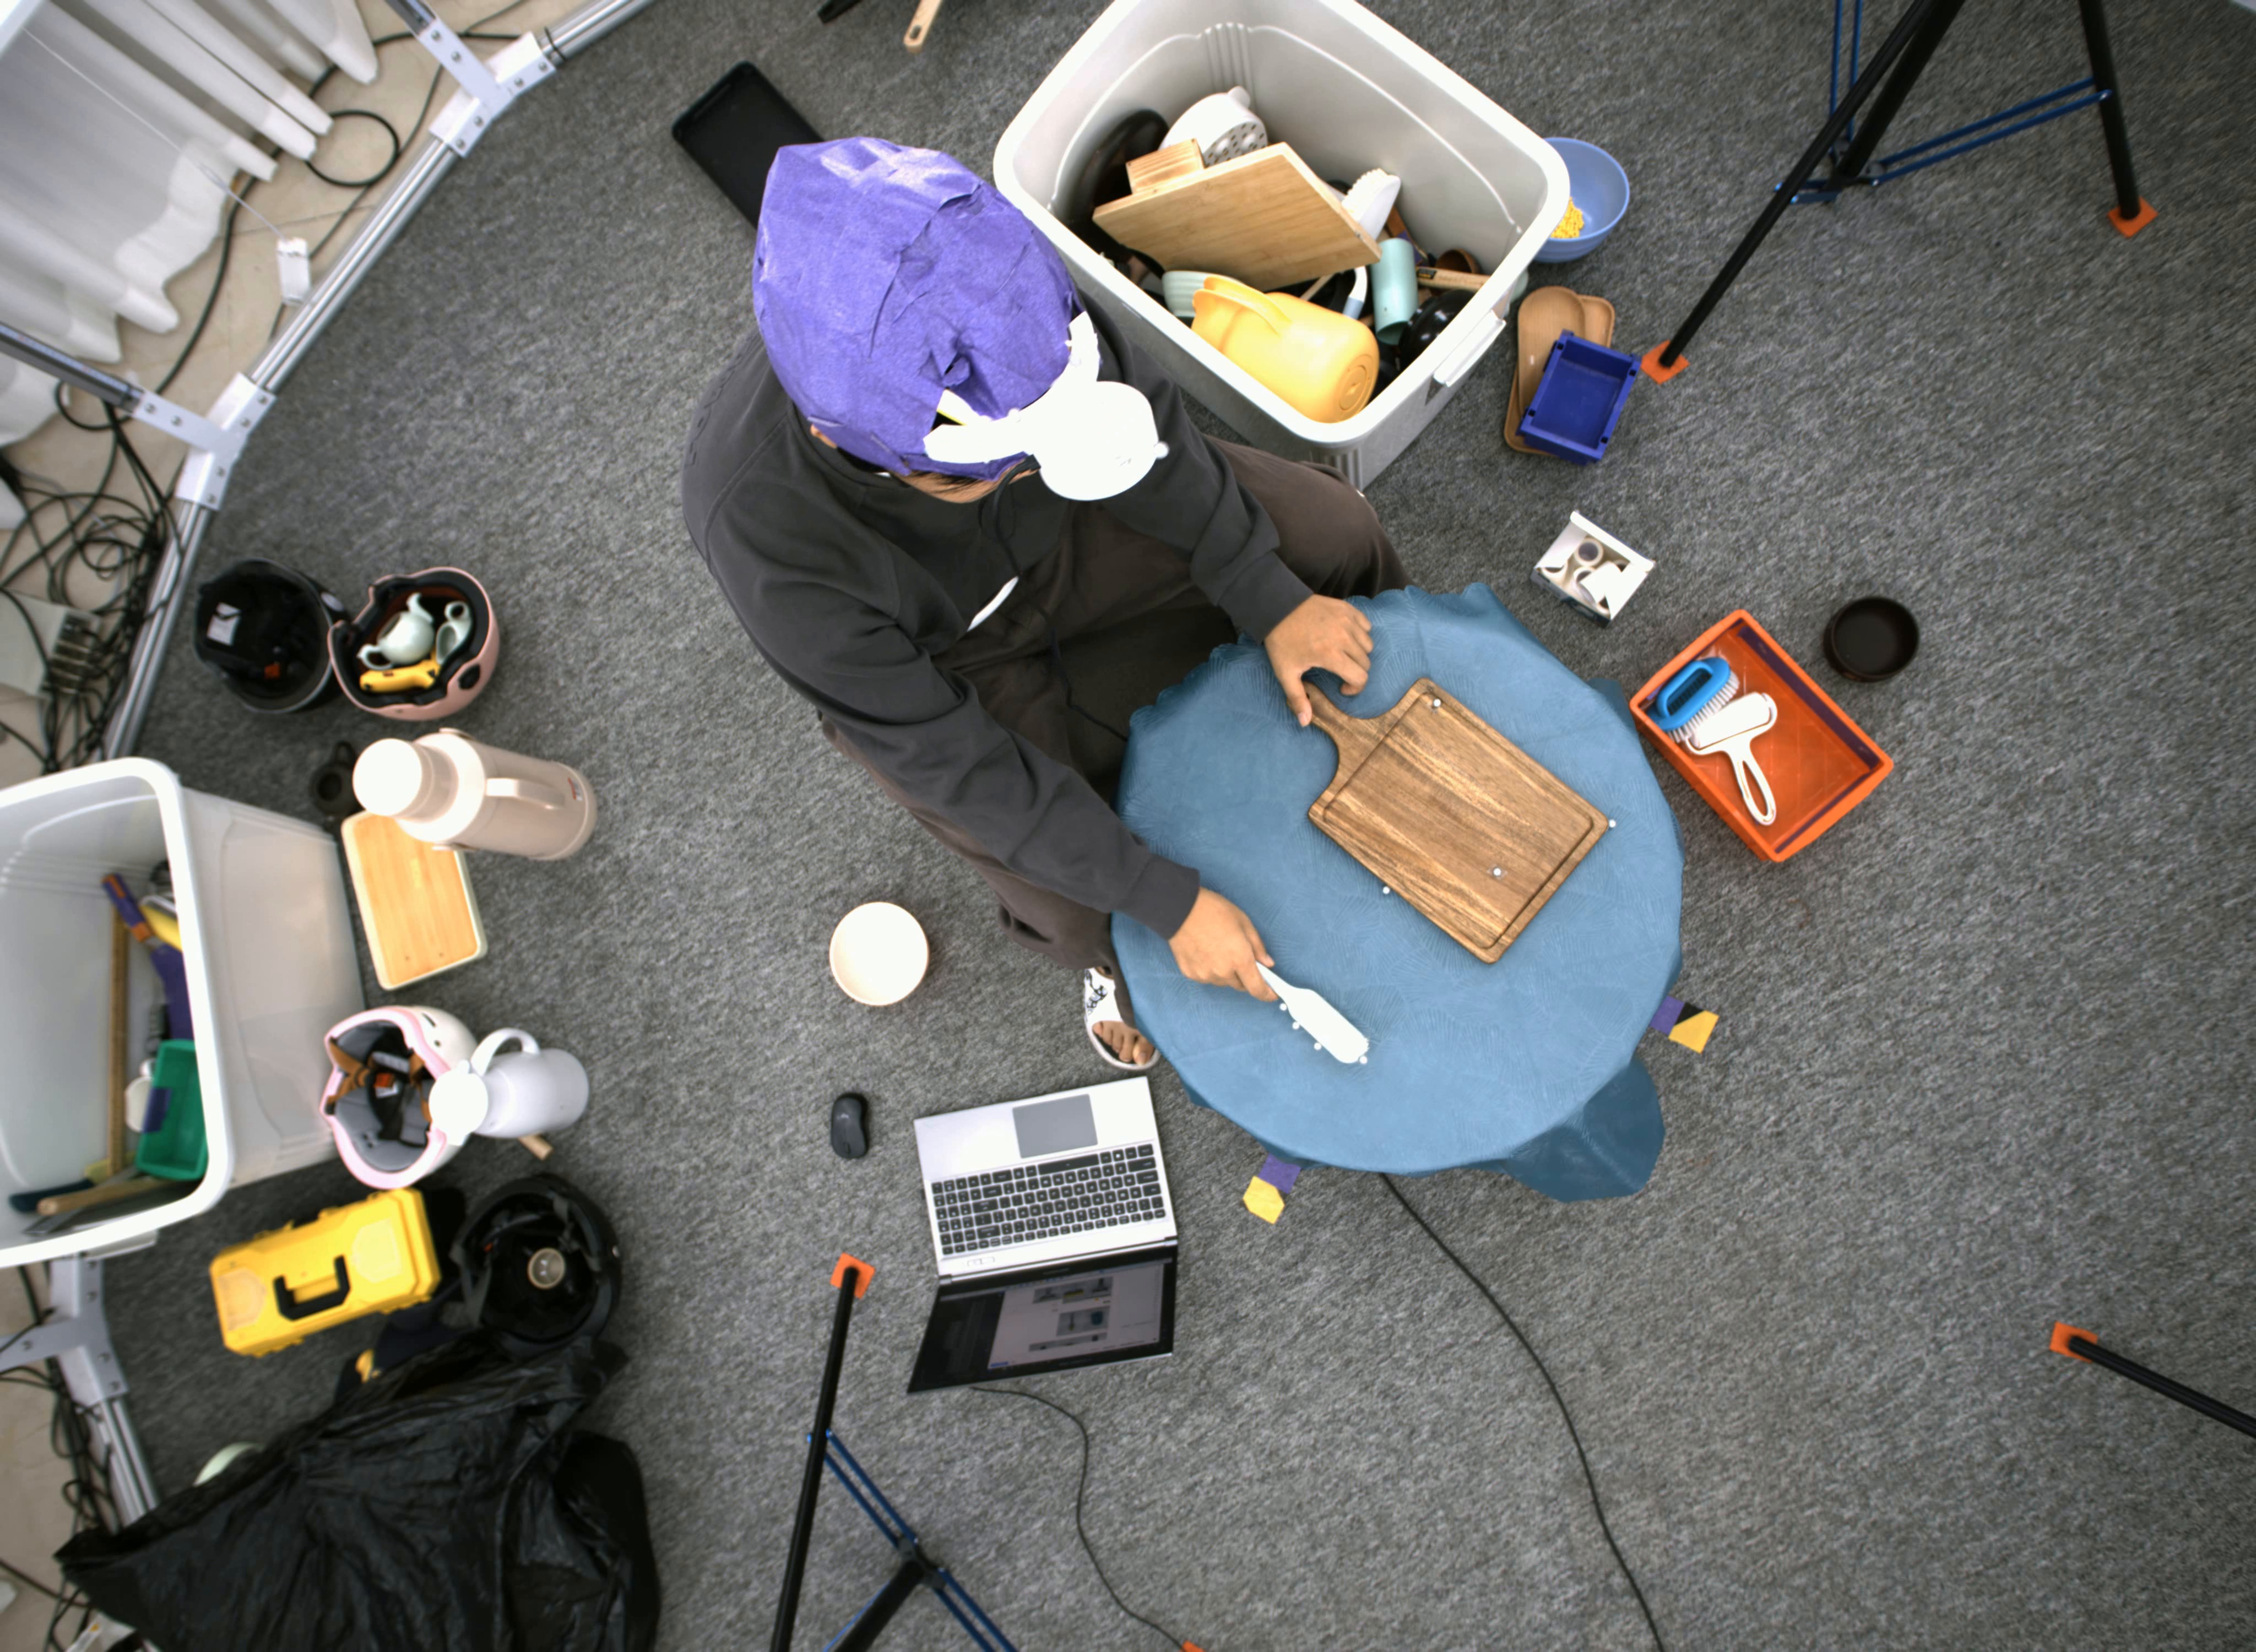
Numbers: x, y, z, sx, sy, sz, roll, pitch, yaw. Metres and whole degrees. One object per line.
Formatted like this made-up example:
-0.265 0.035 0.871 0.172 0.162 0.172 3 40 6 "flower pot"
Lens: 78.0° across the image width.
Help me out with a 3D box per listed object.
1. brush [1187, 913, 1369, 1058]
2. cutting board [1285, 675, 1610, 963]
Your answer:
0.155 0.165 1.456 0.228 0.049 0.038 36 98 15 "brush"
0.308 -0.042 1.450 0.351 0.023 0.202 40 94 11 "cutting board"
